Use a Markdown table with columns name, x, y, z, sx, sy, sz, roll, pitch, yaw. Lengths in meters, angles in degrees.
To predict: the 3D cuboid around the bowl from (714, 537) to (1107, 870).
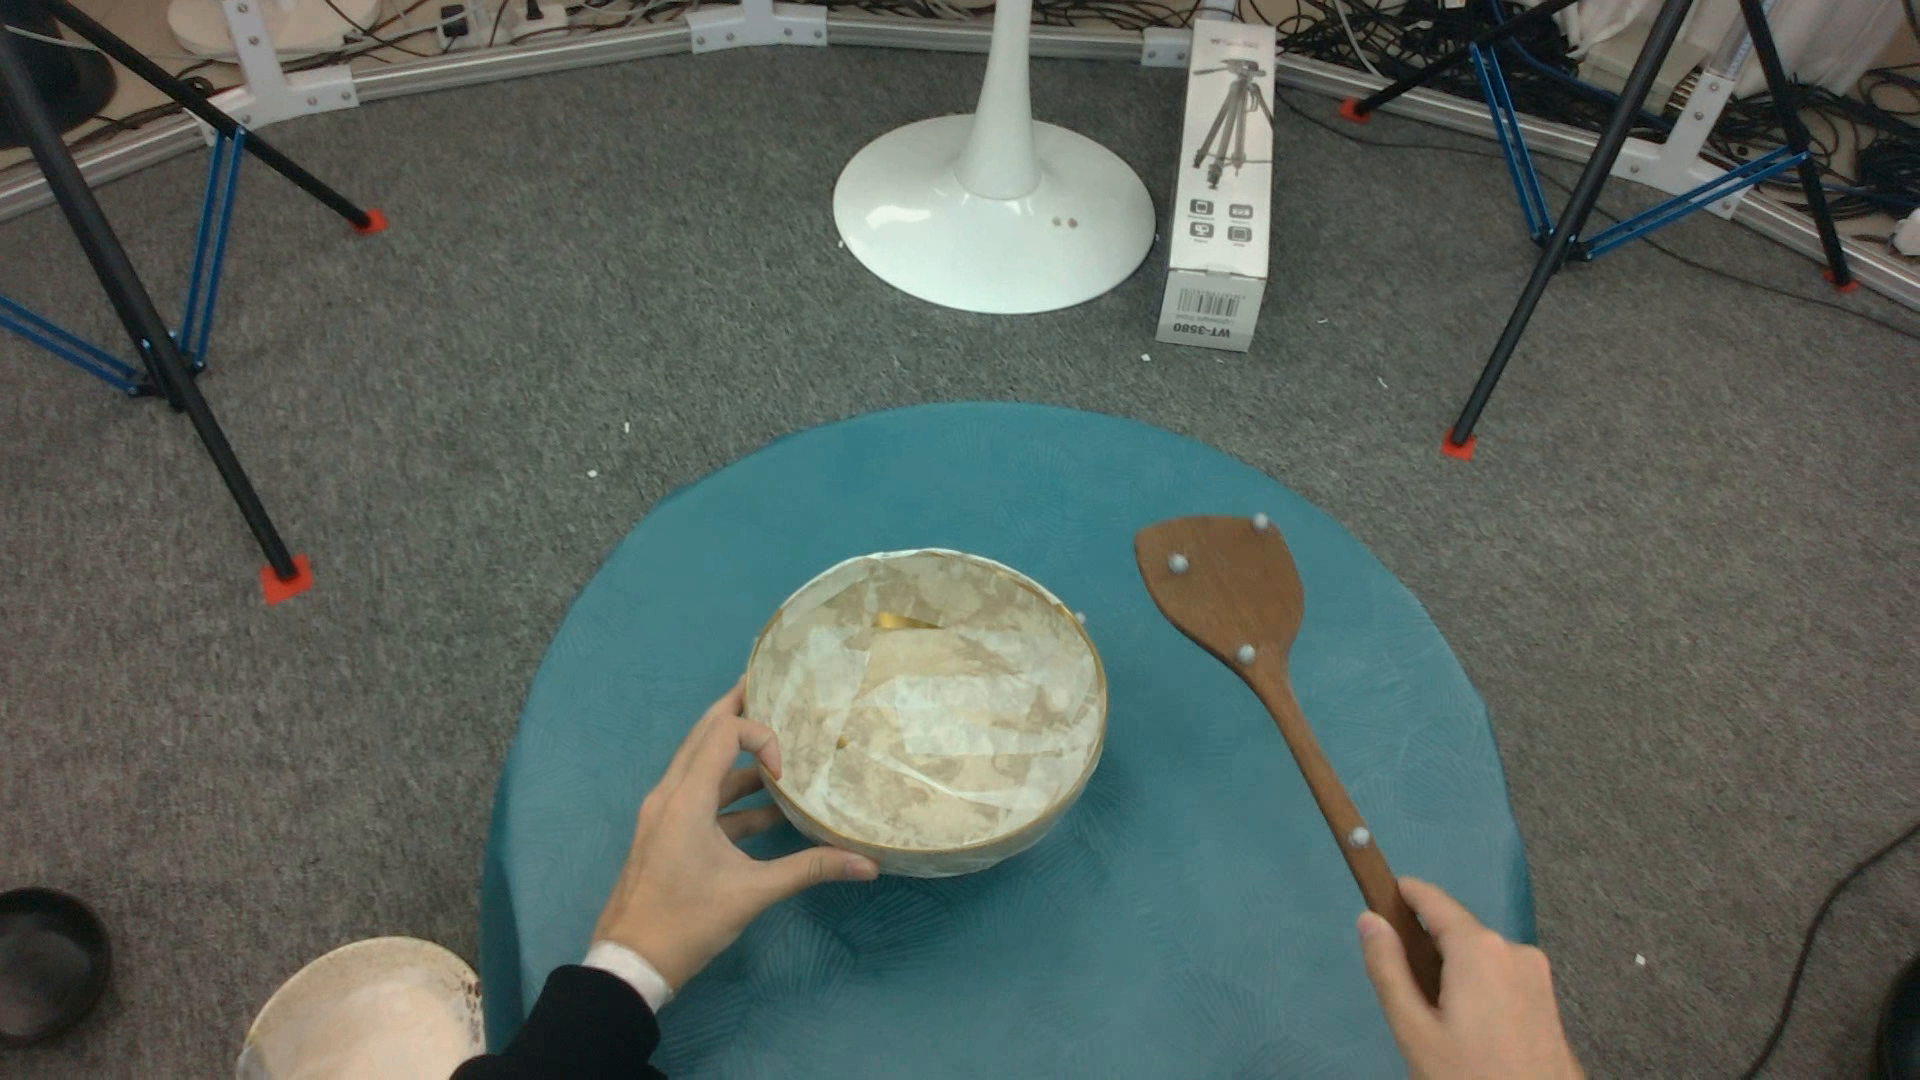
| name | x | y | z | sx | sy | sz | roll | pitch | yaw |
| --- | --- | --- | --- | --- | --- | --- | --- | --- | --- |
| bowl | -0.028 | 0.106 | 0.775 | 0.215 | 0.094 | 0.215 | 4 | 49 | -4 |

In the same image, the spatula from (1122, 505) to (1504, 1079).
| name | x | y | z | sx | sy | sz | roll | pitch | yaw |
| --- | --- | --- | --- | --- | --- | --- | --- | --- | --- |
| spatula | 0.179 | 0.126 | 0.667 | 0.096 | 0.015 | 0.387 | -4 | 49 | -20 |
